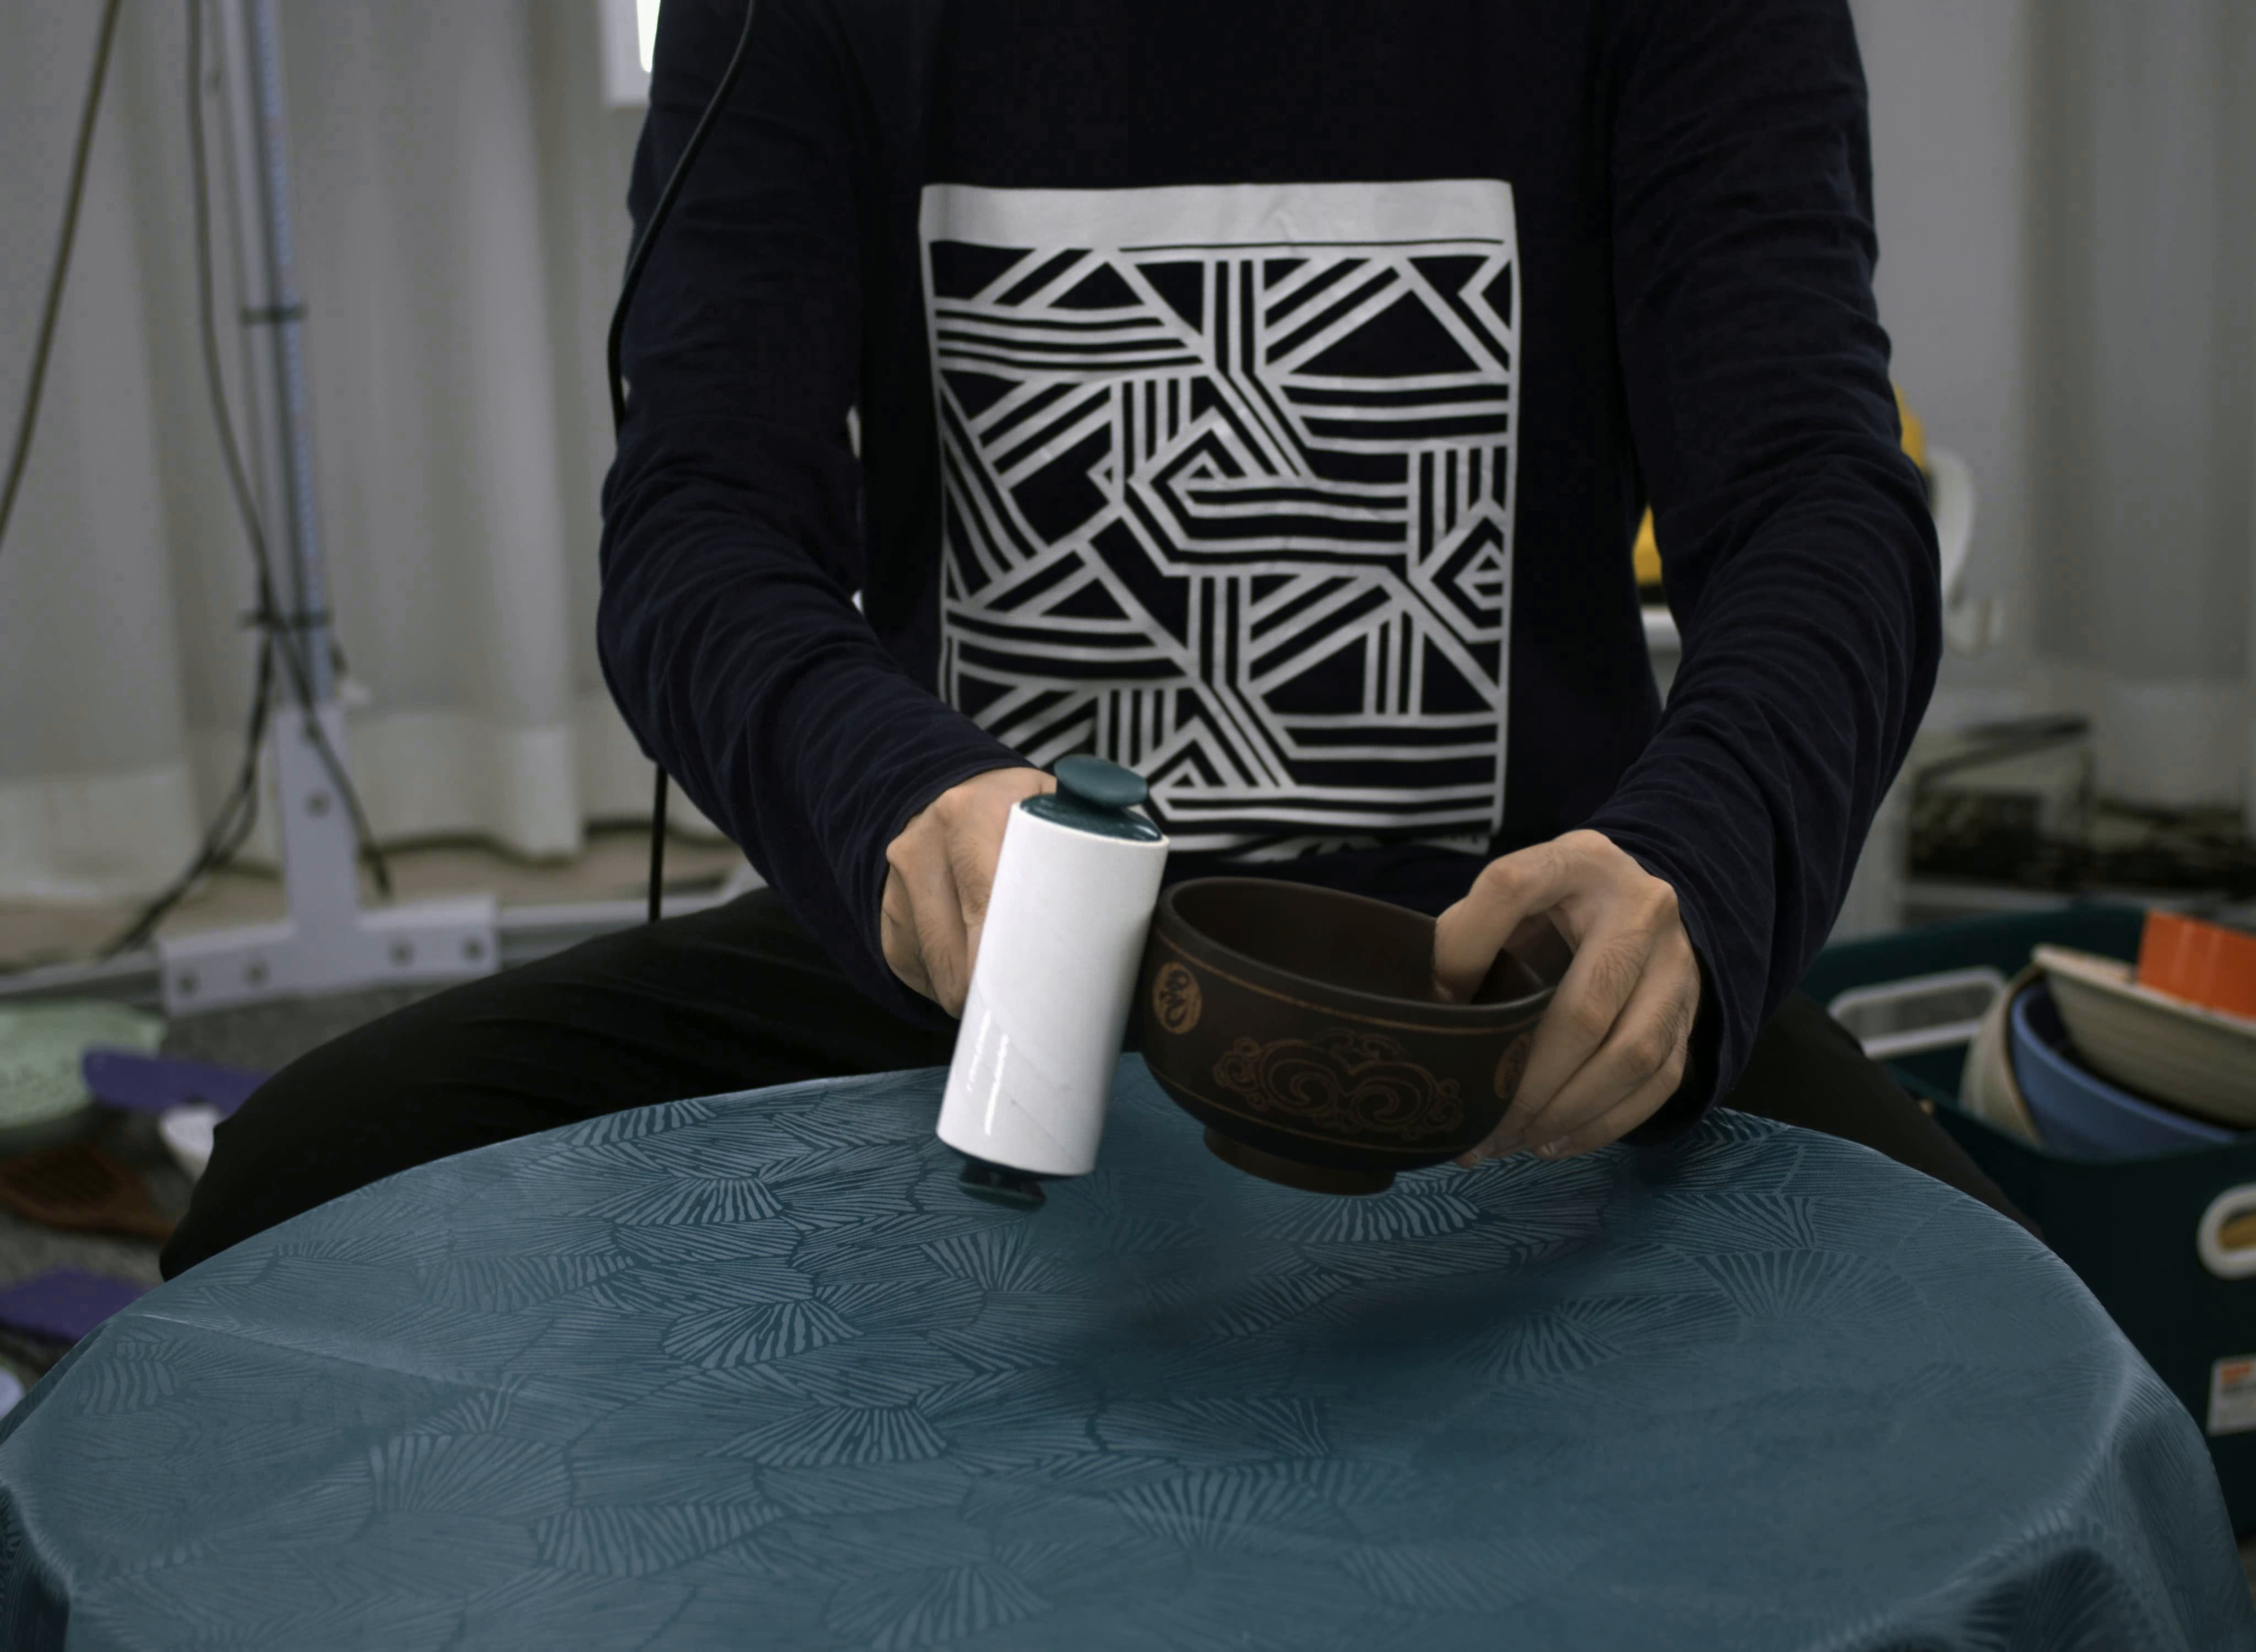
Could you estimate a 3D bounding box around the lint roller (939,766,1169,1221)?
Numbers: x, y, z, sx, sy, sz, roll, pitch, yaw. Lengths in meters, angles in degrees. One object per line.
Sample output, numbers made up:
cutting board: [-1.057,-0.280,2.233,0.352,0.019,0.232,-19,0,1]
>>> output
lint roller: [-0.034,0.037,1.643,0.048,0.134,0.181,11,7,-13]

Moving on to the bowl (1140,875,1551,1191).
bowl: [0.059,0.064,1.579,0.117,0.070,0.118,12,11,-2]
